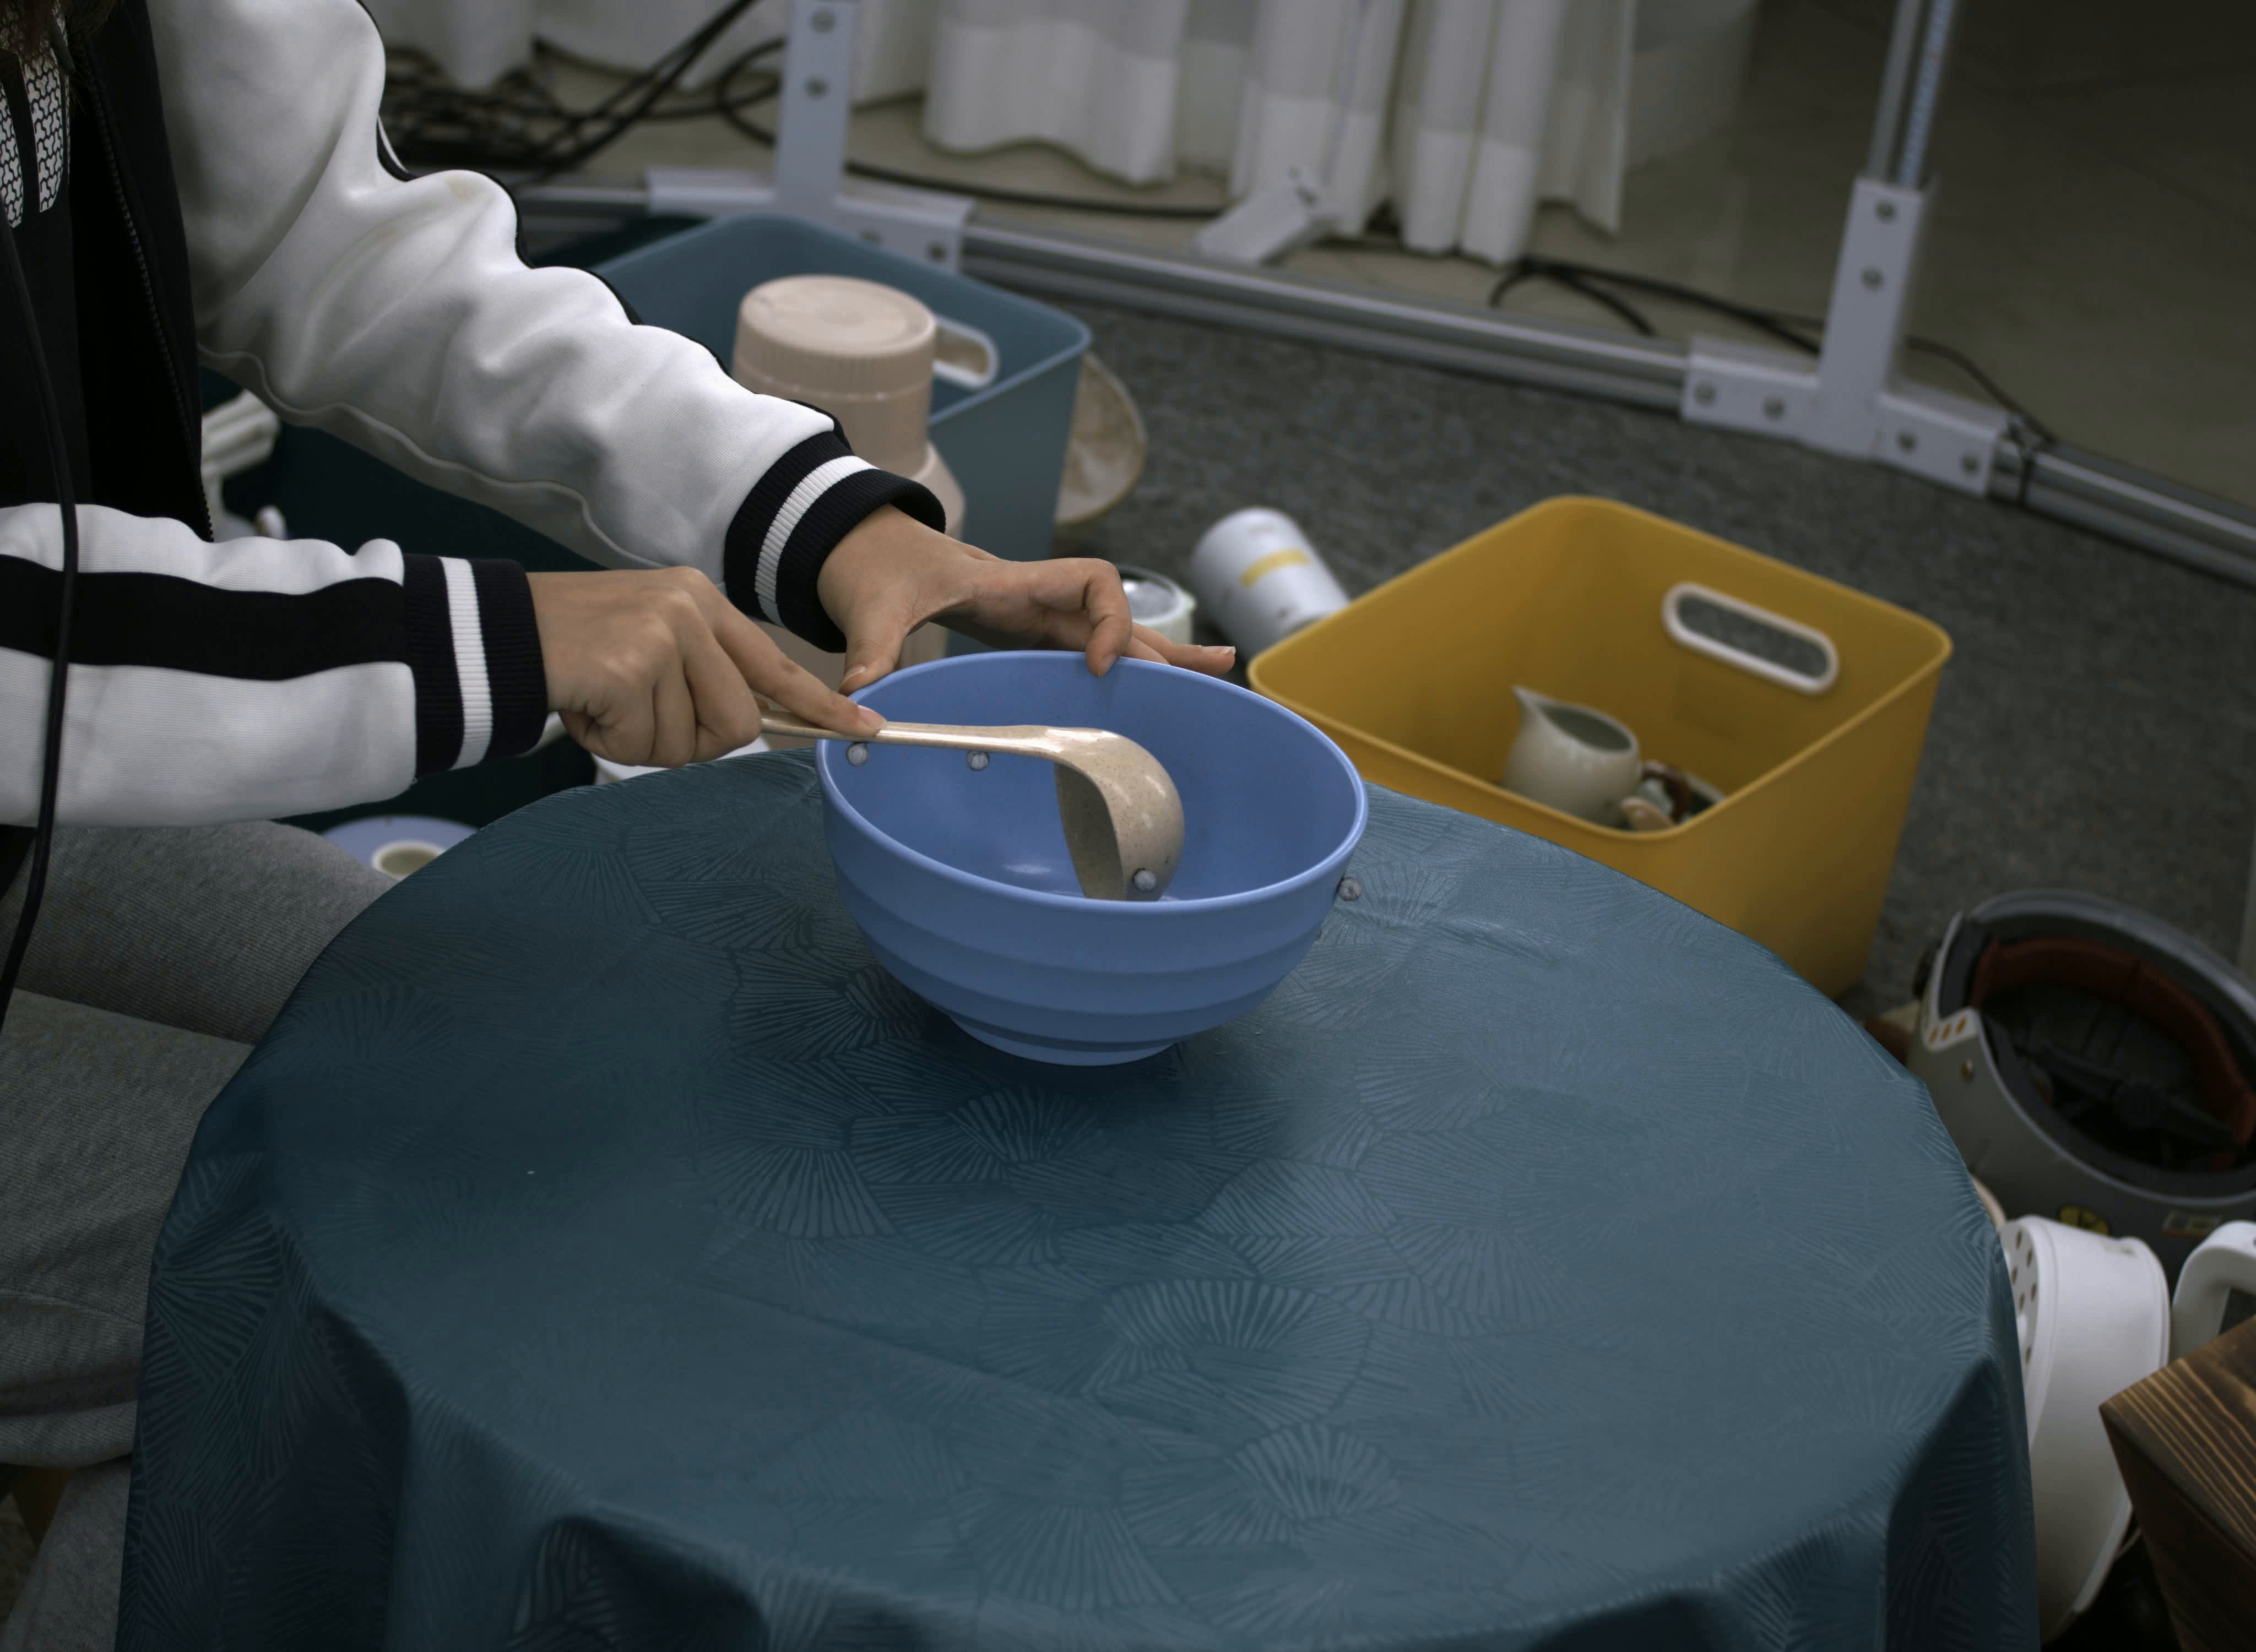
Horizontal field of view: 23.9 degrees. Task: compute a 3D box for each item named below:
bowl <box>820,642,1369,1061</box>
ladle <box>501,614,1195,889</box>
[{"bbox_3d":[-0.018,0.020,1.893,0.196,0.095,0.197,8,27,-4],"label":"bowl"},{"bbox_3d":[-0.101,-0.010,1.847,0.253,0.072,0.073,14,69,-13],"label":"ladle"}]
